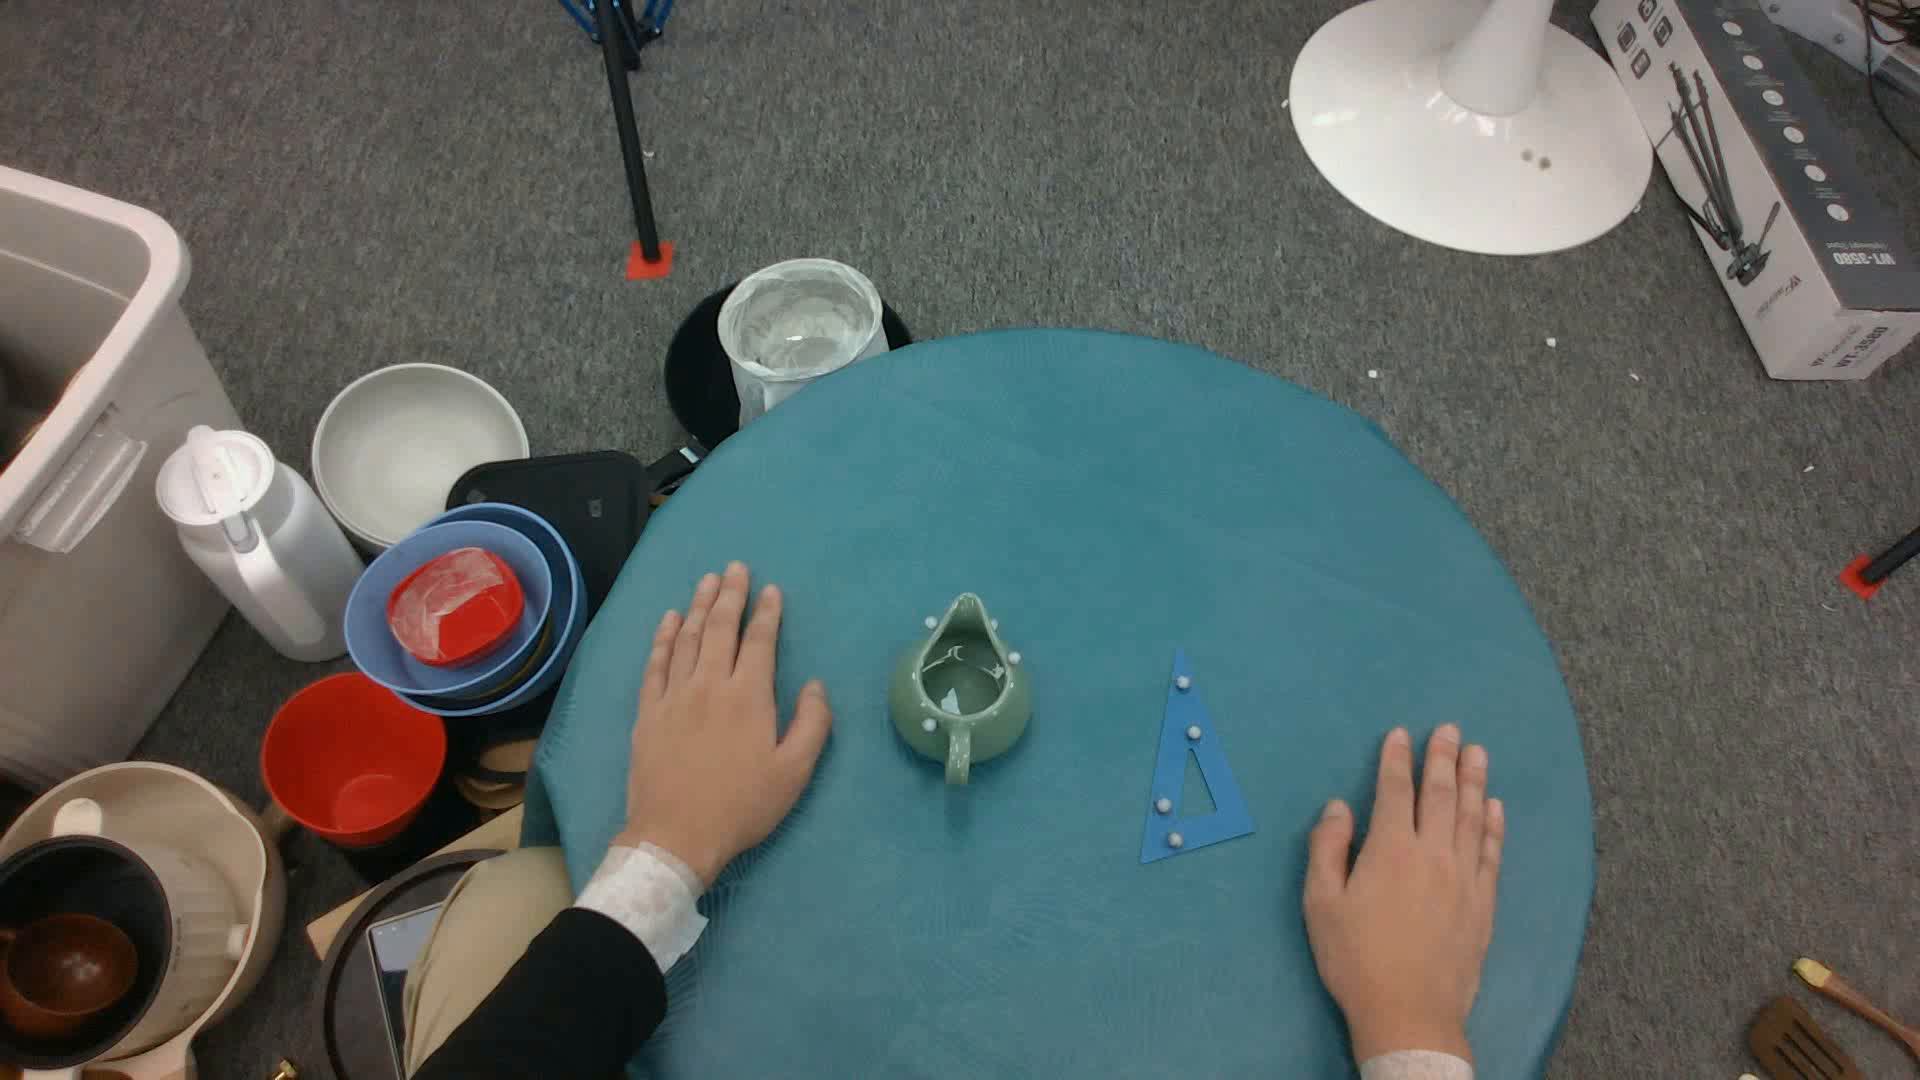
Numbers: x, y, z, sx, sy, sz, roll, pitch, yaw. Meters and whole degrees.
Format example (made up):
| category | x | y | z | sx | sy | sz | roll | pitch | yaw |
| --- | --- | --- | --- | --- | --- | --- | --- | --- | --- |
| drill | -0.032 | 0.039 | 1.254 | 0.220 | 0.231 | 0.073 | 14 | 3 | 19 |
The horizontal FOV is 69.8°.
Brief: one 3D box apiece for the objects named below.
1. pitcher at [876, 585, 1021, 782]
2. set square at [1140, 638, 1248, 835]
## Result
| category | x | y | z | sx | sy | sz | roll | pitch | yaw |
| --- | --- | --- | --- | --- | --- | --- | --- | --- | --- |
| pitcher | -0.006 | 0.087 | 0.785 | 0.084 | 0.056 | 0.113 | 2 | 60 | 0 |
| set square | 0.146 | 0.119 | 0.808 | 0.061 | 0.006 | 0.132 | 16 | 60 | 6 |
